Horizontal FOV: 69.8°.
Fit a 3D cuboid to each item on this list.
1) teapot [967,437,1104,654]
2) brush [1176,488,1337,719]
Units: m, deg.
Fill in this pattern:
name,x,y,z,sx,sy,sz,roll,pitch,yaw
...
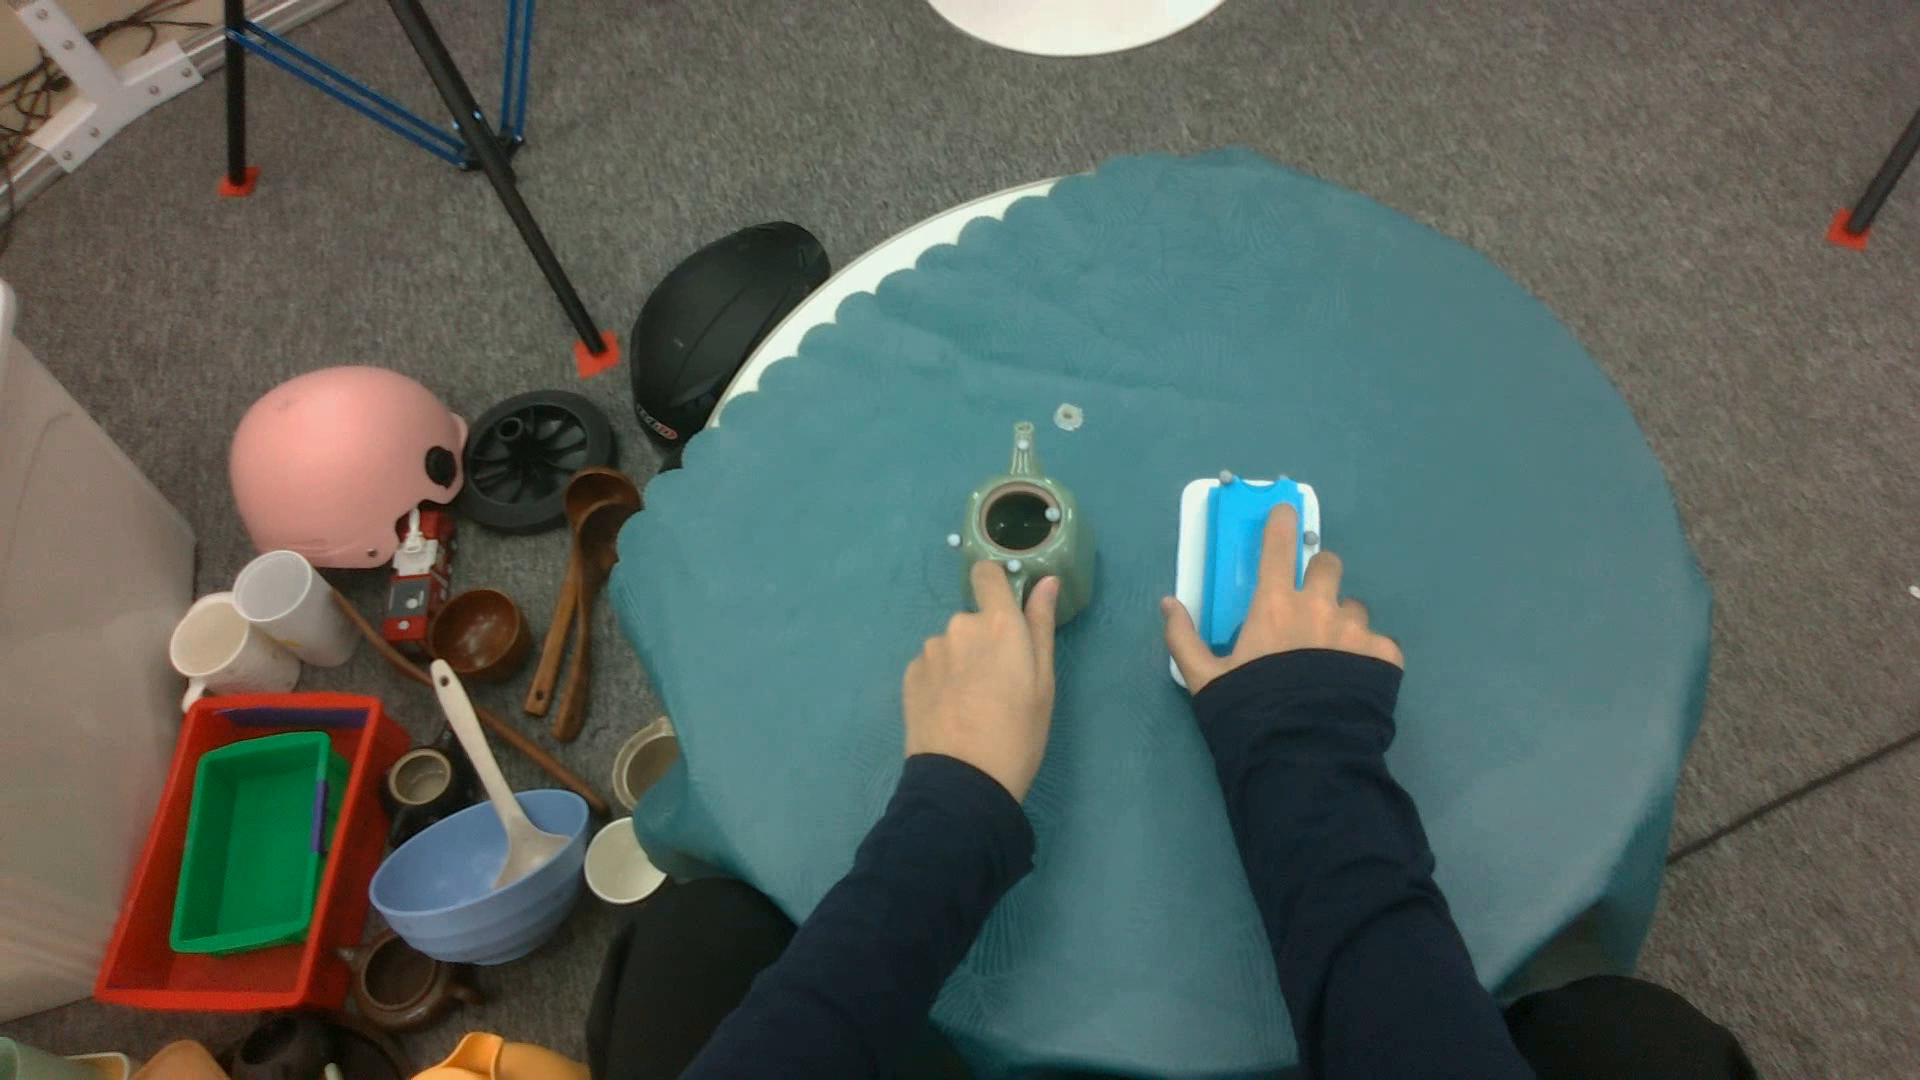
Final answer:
name,x,y,z,sx,sy,sz,roll,pitch,yaw
teapot,0.042,0.012,0.796,0.079,0.075,0.133,1,61,9
brush,0.169,0.028,0.776,0.084,0.056,0.144,5,57,14
